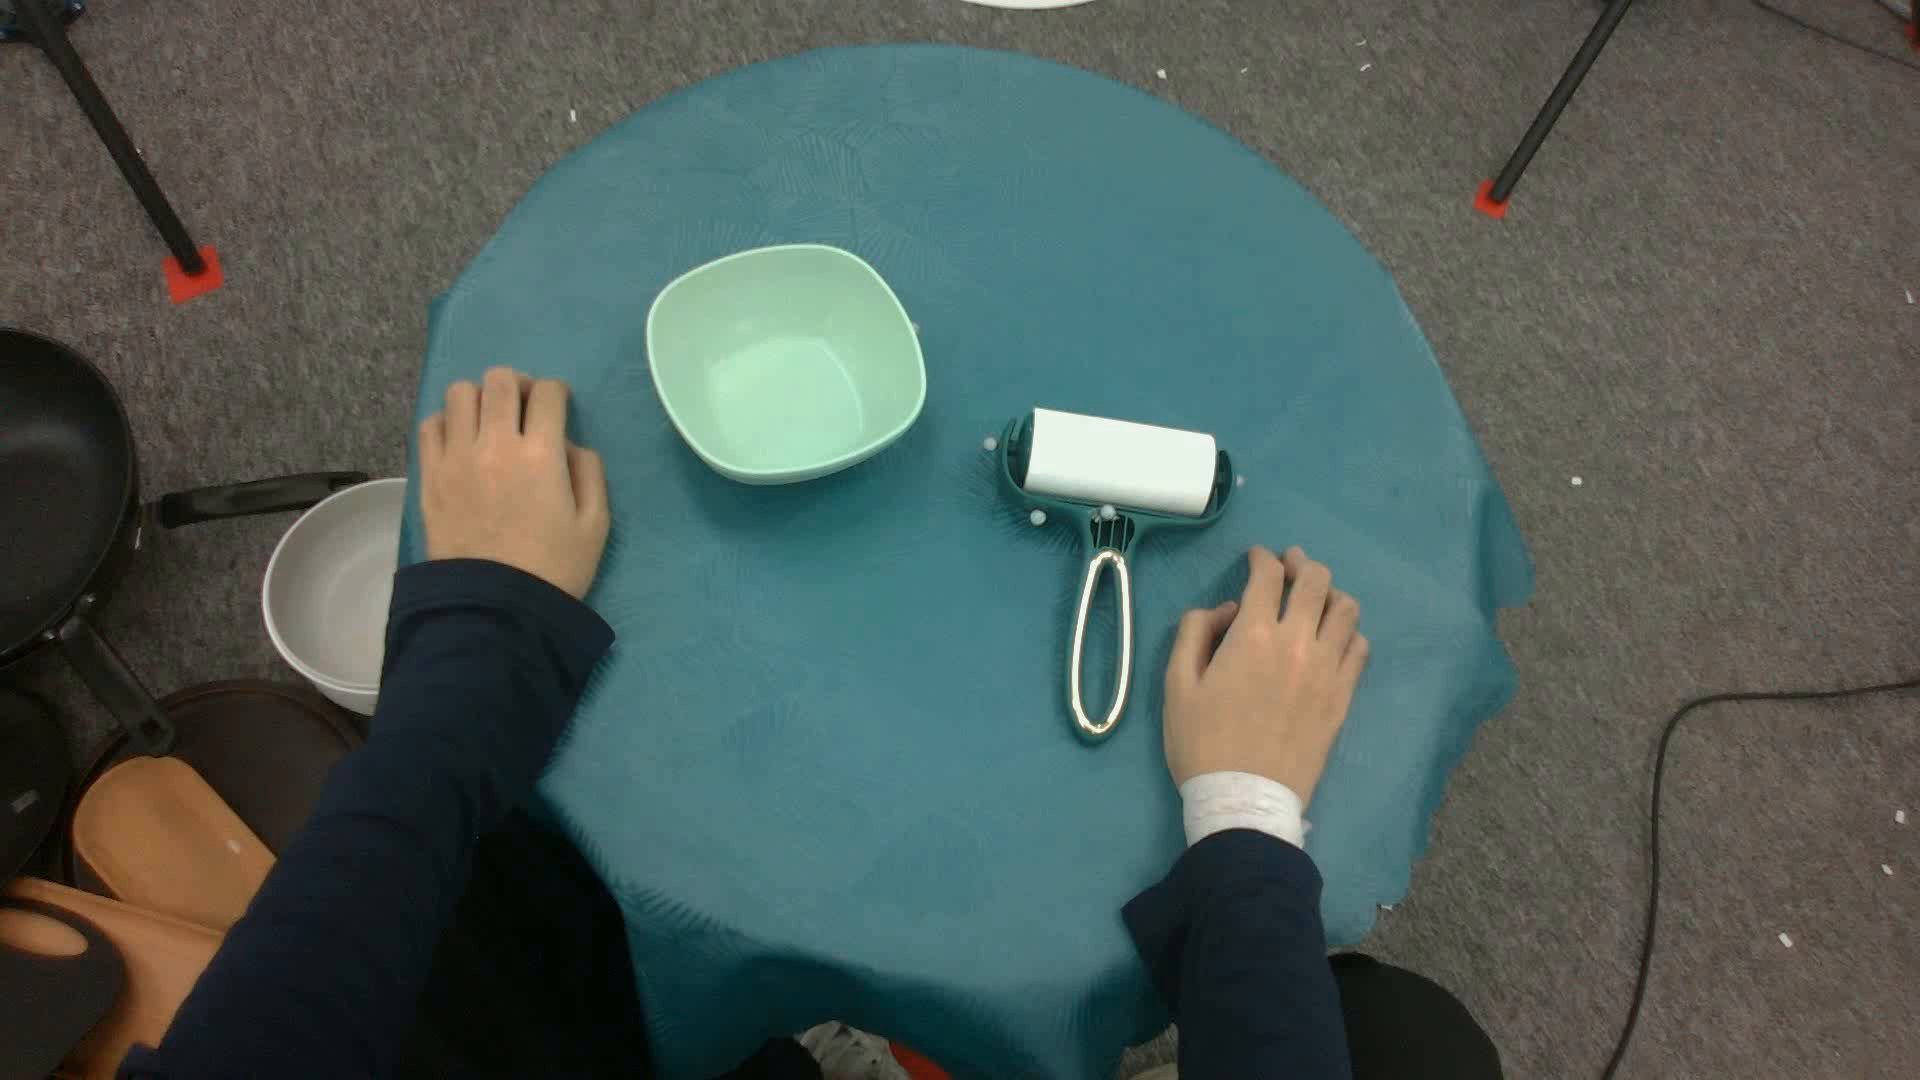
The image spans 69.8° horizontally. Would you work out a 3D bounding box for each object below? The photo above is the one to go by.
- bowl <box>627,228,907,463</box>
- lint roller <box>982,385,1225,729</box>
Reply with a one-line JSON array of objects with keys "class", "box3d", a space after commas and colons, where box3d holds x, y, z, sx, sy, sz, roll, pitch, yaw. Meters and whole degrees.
[{"class": "bowl", "box3d": [-0.104, -0.095, 0.740, 0.151, 0.058, 0.152, 4, 61, -7]}, {"class": "lint roller", "box3d": [0.071, 0.007, 0.727, 0.134, 0.048, 0.181, 8, 66, -5]}]
